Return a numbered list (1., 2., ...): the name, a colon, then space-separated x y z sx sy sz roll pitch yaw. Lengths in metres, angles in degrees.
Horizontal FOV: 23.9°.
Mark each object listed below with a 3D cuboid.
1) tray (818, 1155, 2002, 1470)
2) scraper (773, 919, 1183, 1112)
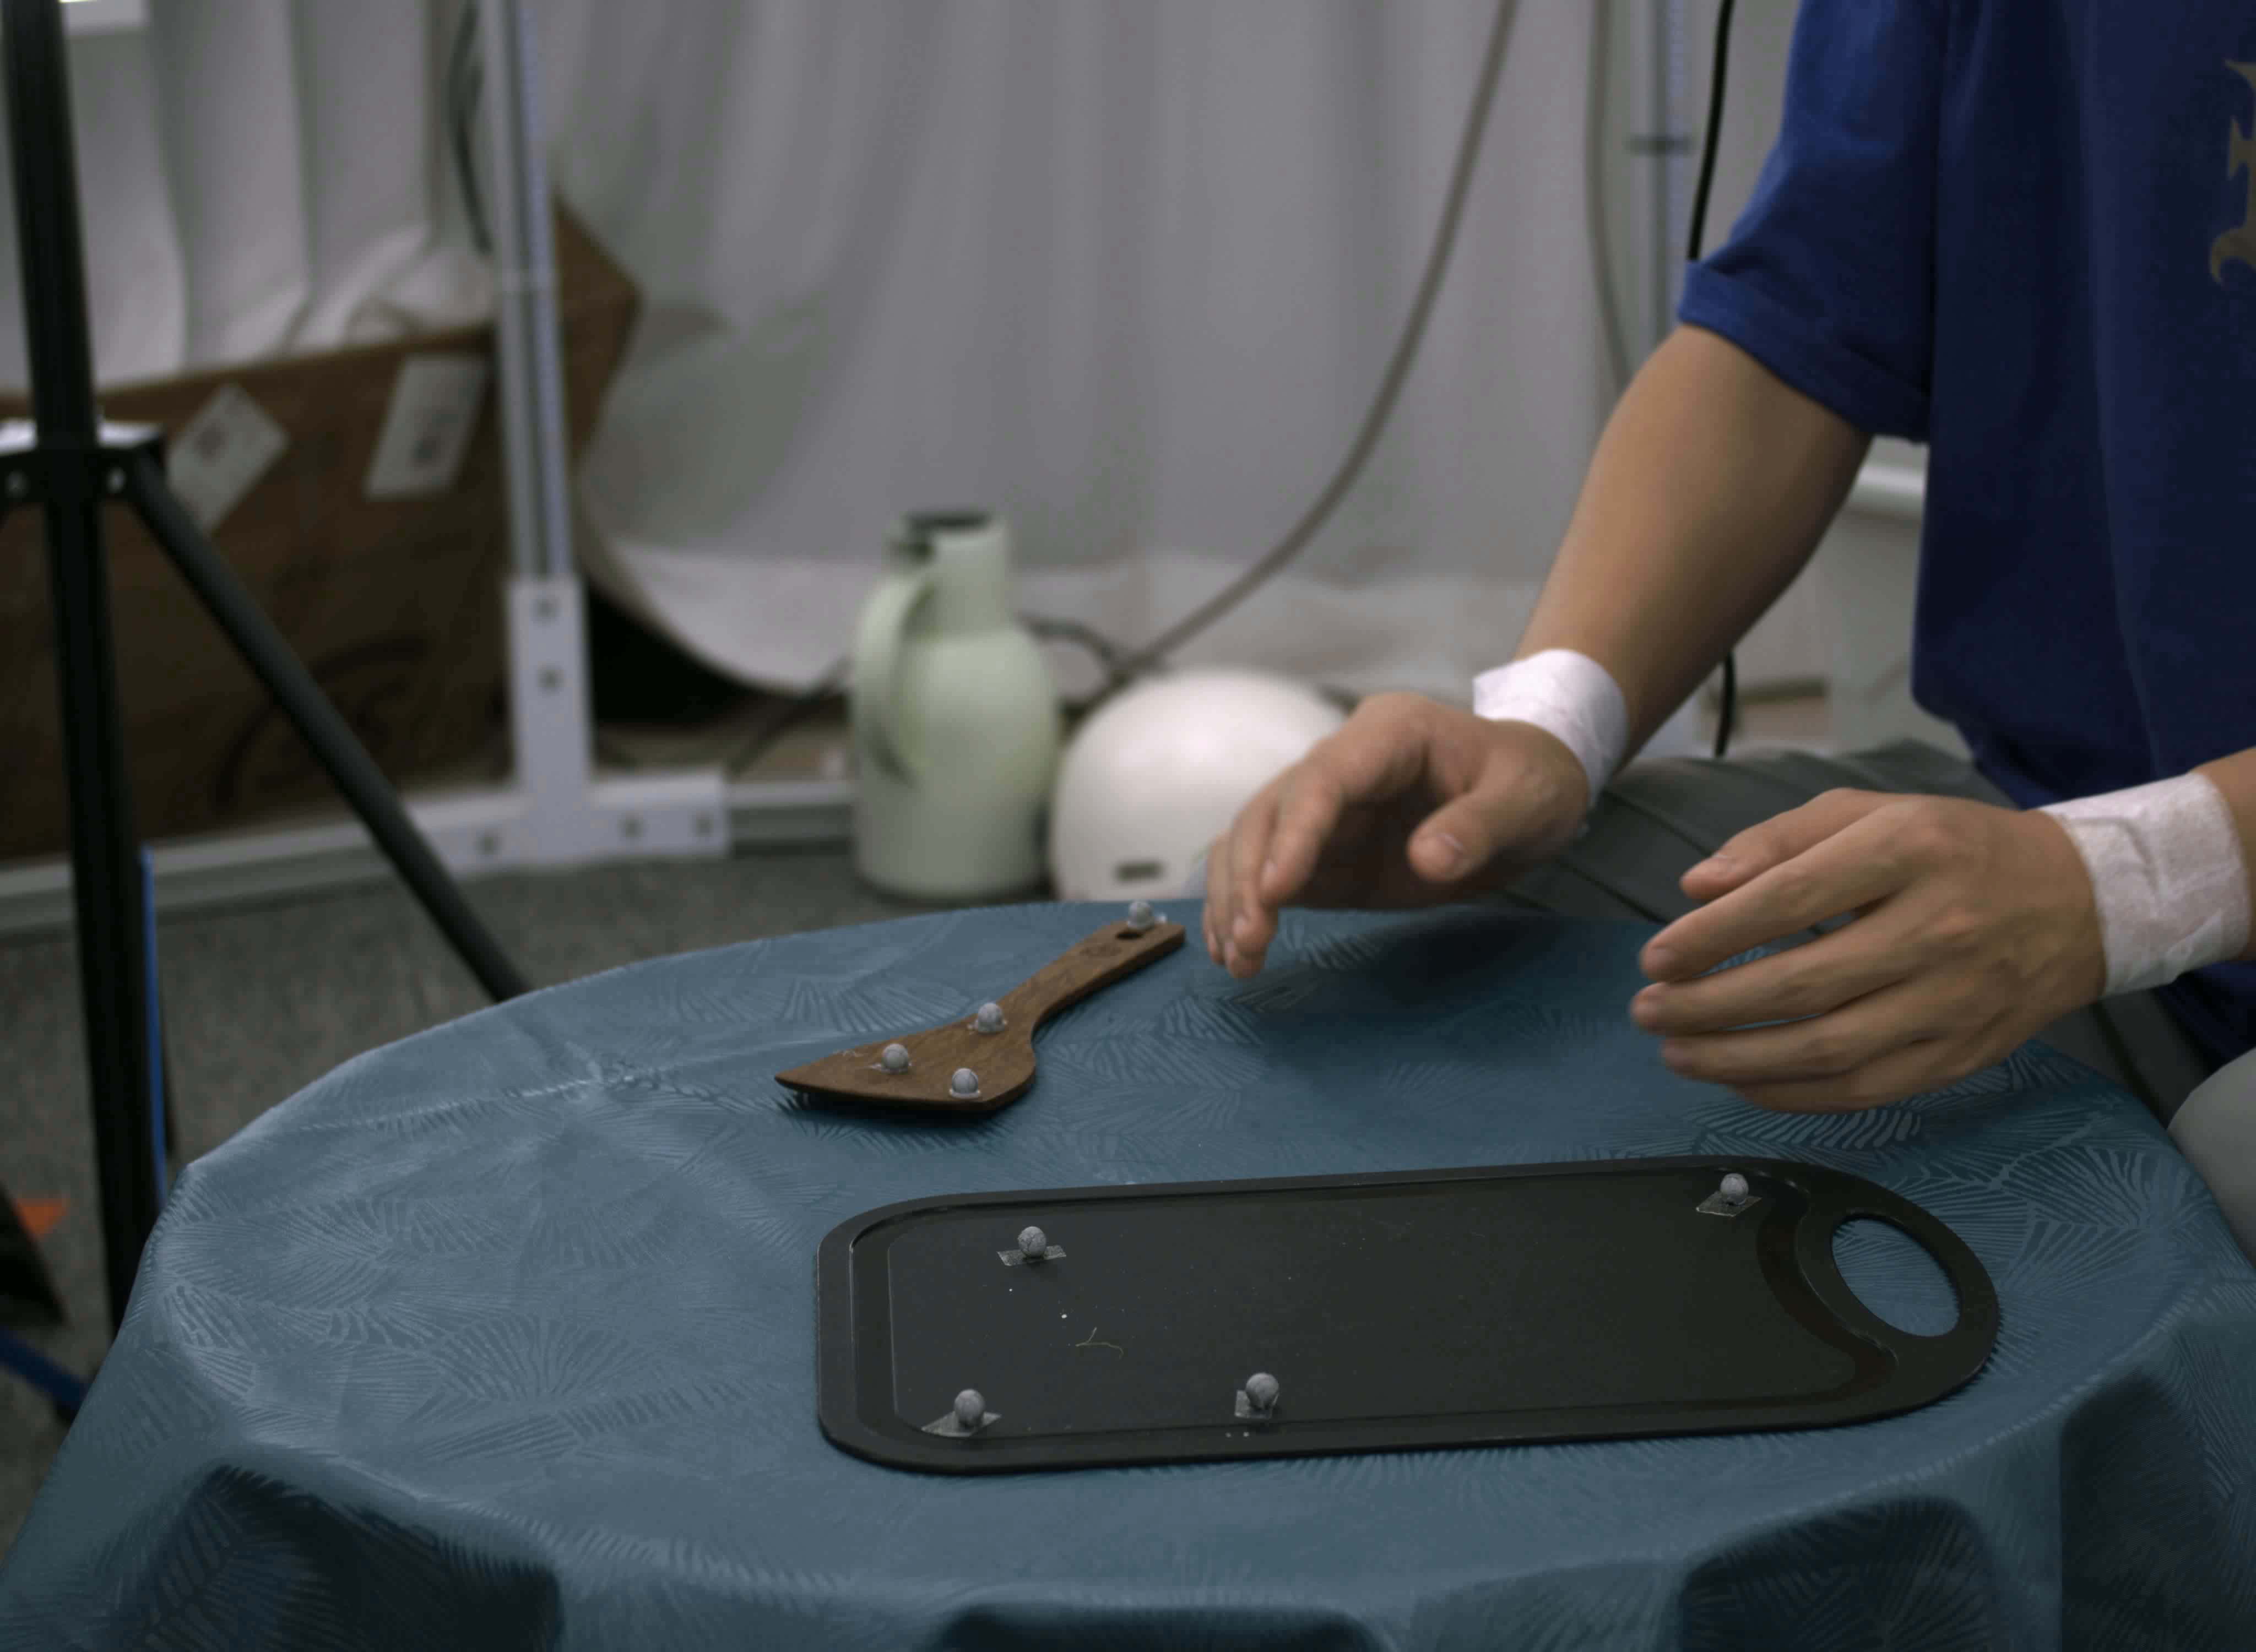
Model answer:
1. tray: 0.077 0.129 1.457 0.324 0.010 0.212 -3 16 -1
2. scraper: -0.036 0.060 1.718 0.077 0.011 0.208 6 17 25
